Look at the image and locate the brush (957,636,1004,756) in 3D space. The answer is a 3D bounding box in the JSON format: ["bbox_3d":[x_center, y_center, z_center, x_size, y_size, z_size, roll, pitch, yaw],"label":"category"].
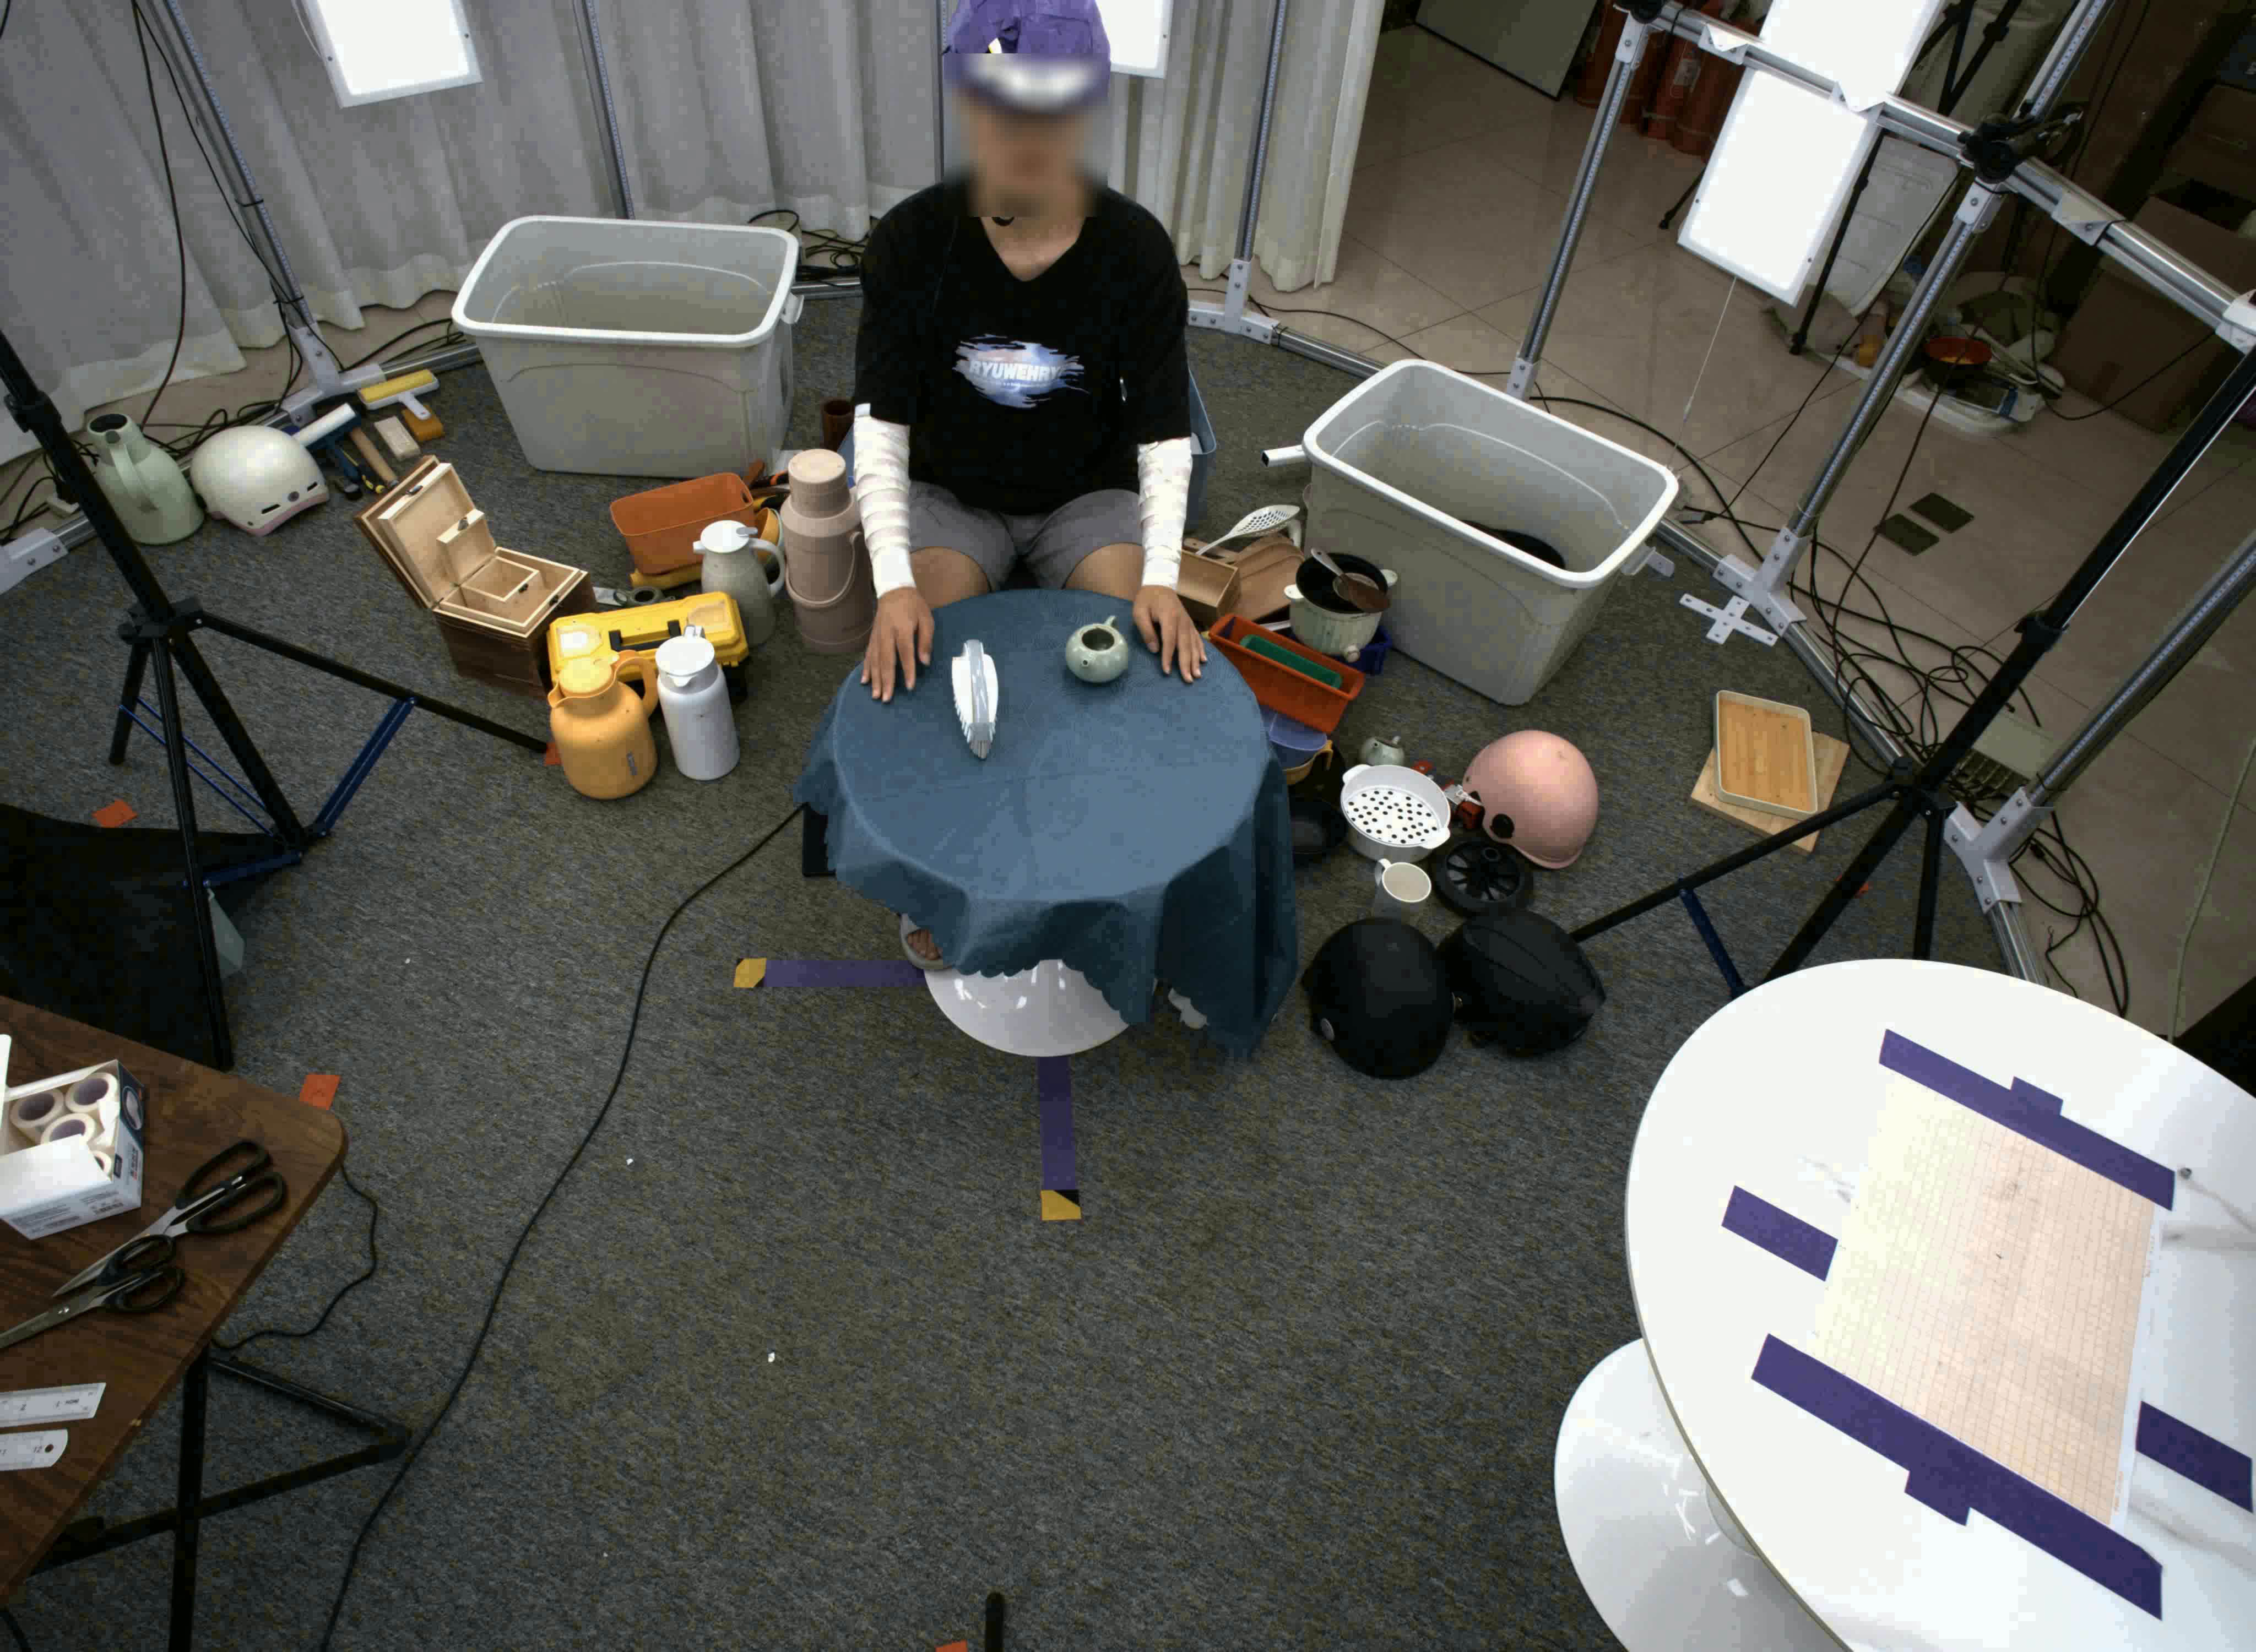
[{"bbox_3d":[-0.202,-0.187,1.763,0.061,0.092,0.180,-6,52,-5],"label":"brush"}]

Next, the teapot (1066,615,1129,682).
[{"bbox_3d":[-0.039,-0.256,1.852,0.092,0.059,0.131,19,51,15],"label":"teapot"}]
